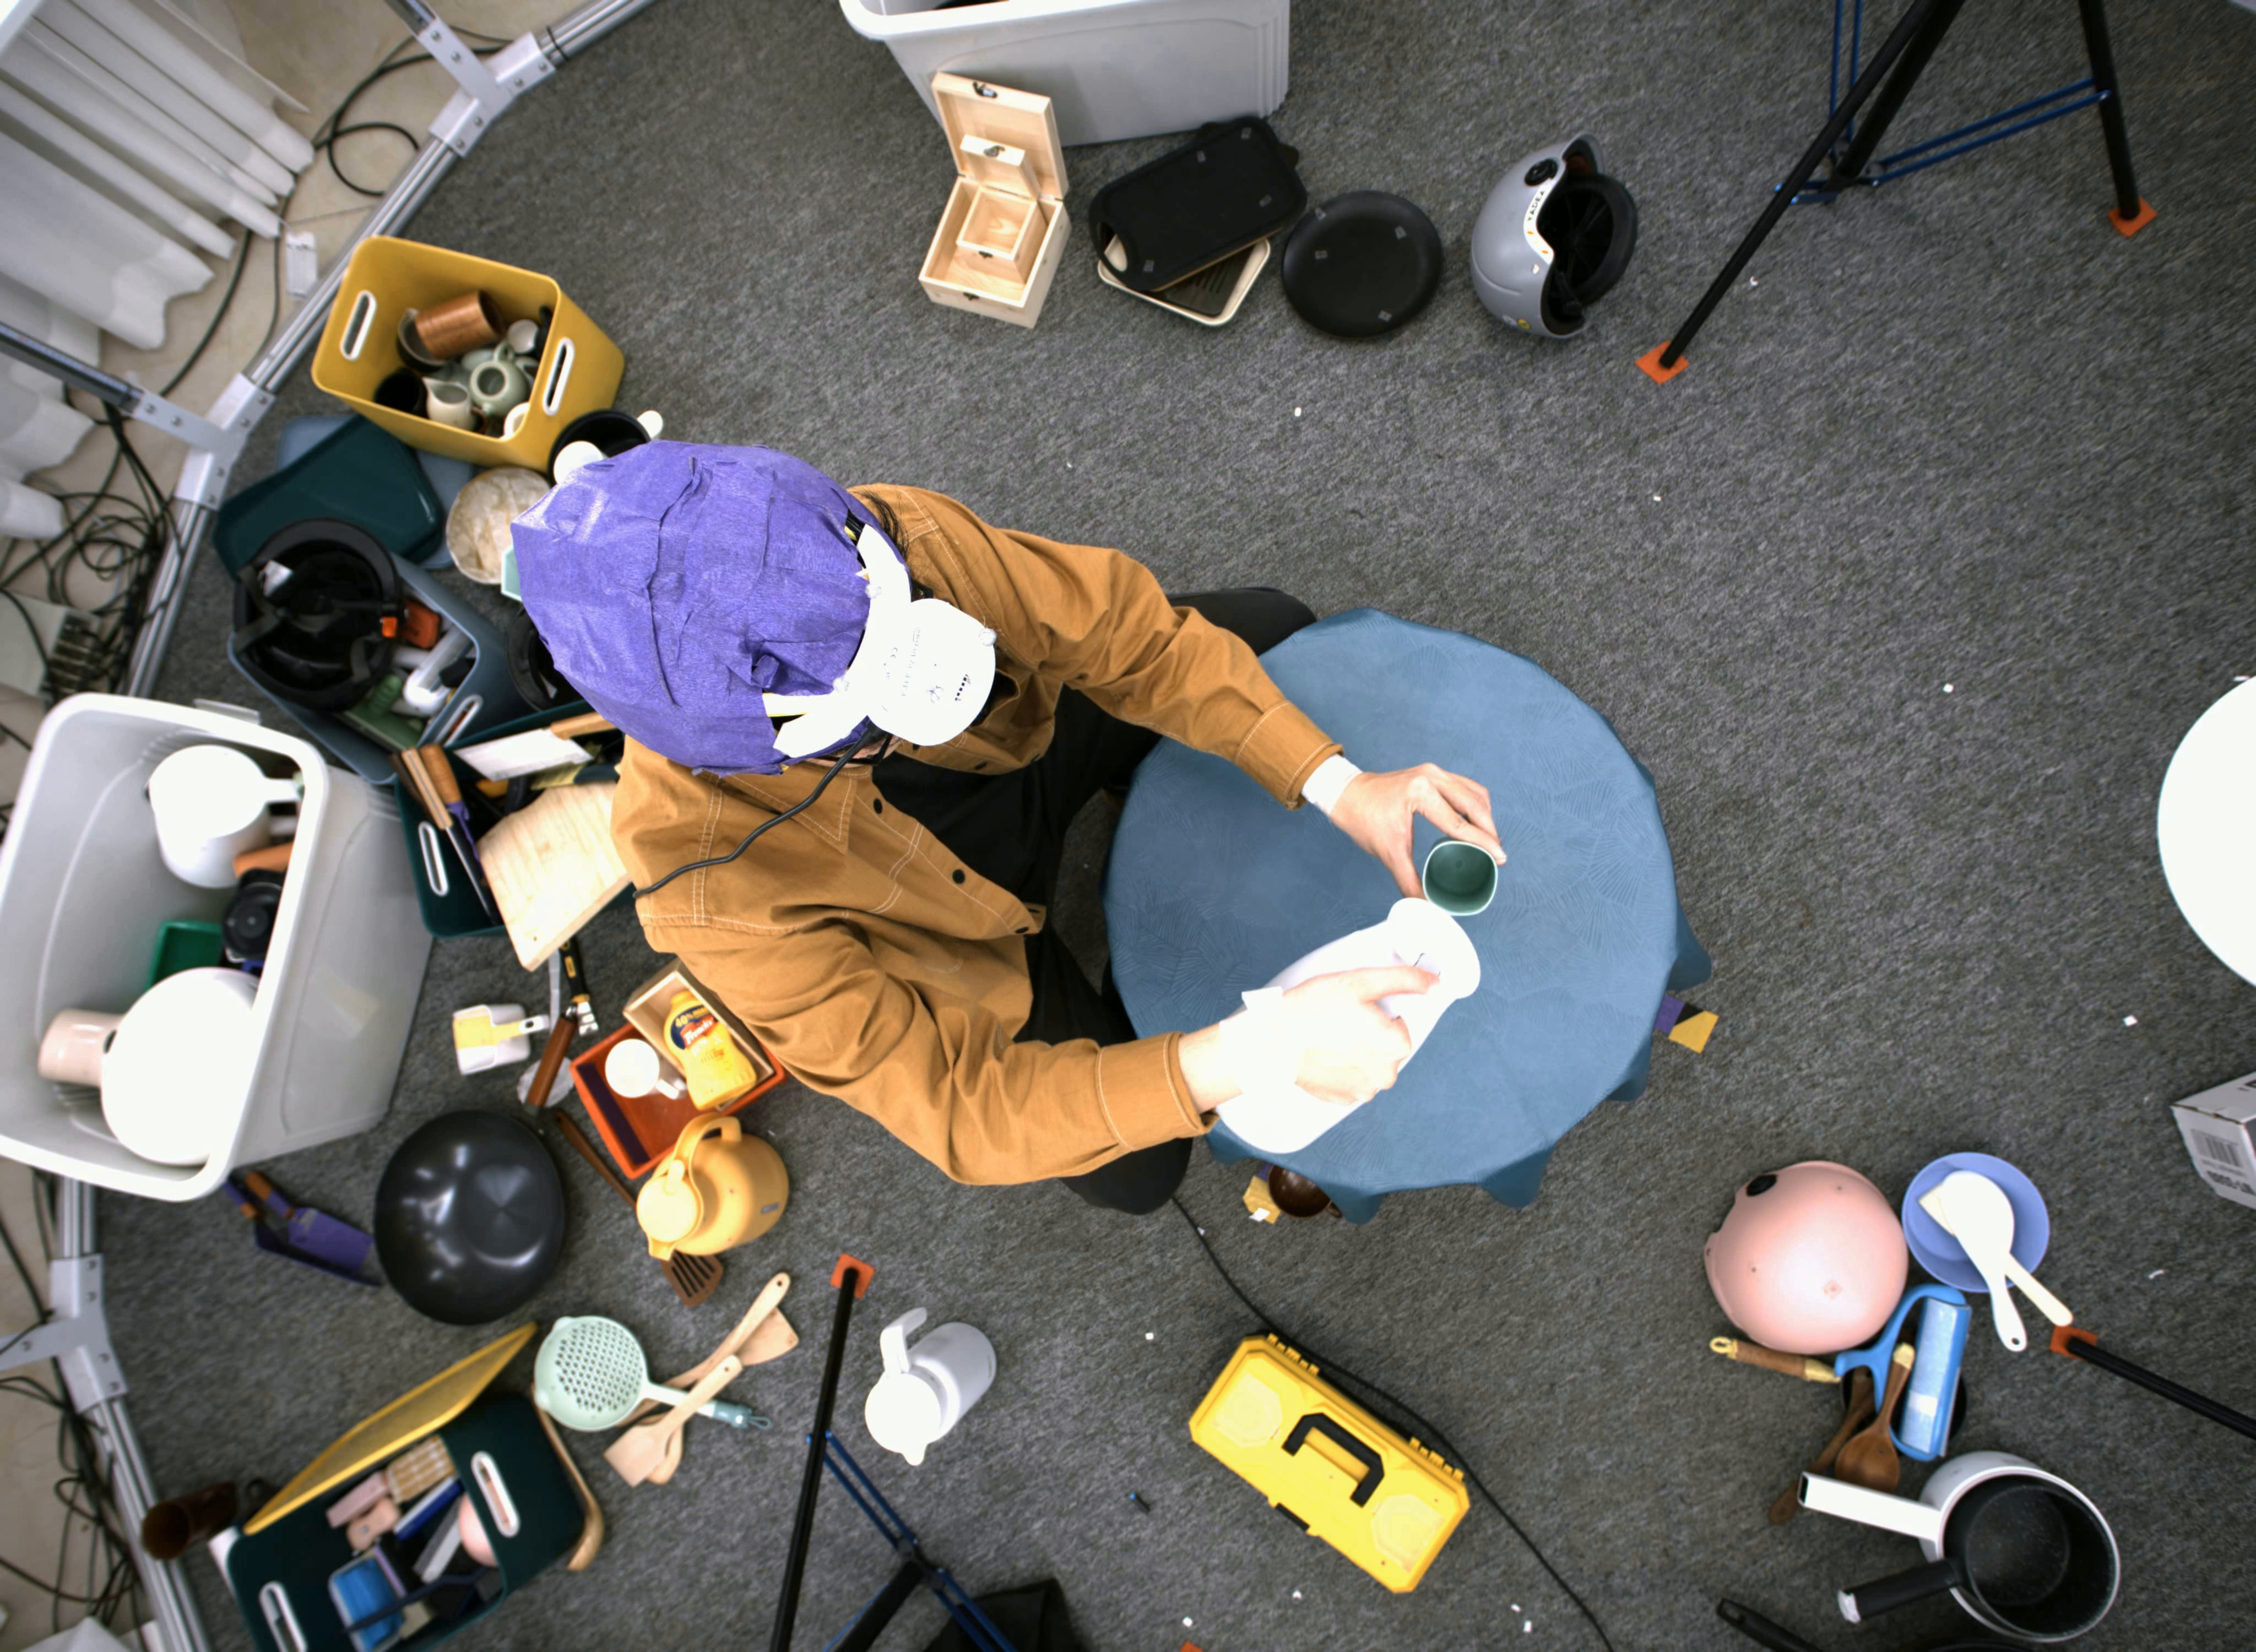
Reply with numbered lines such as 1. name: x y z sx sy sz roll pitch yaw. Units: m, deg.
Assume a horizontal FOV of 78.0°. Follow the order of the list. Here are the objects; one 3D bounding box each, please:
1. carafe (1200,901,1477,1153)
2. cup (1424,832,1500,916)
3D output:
1. carafe: 0.173 0.172 1.151 0.132 0.164 0.254 44 133 2
2. cup: 0.301 0.039 1.247 0.067 0.131 0.067 1 95 13
